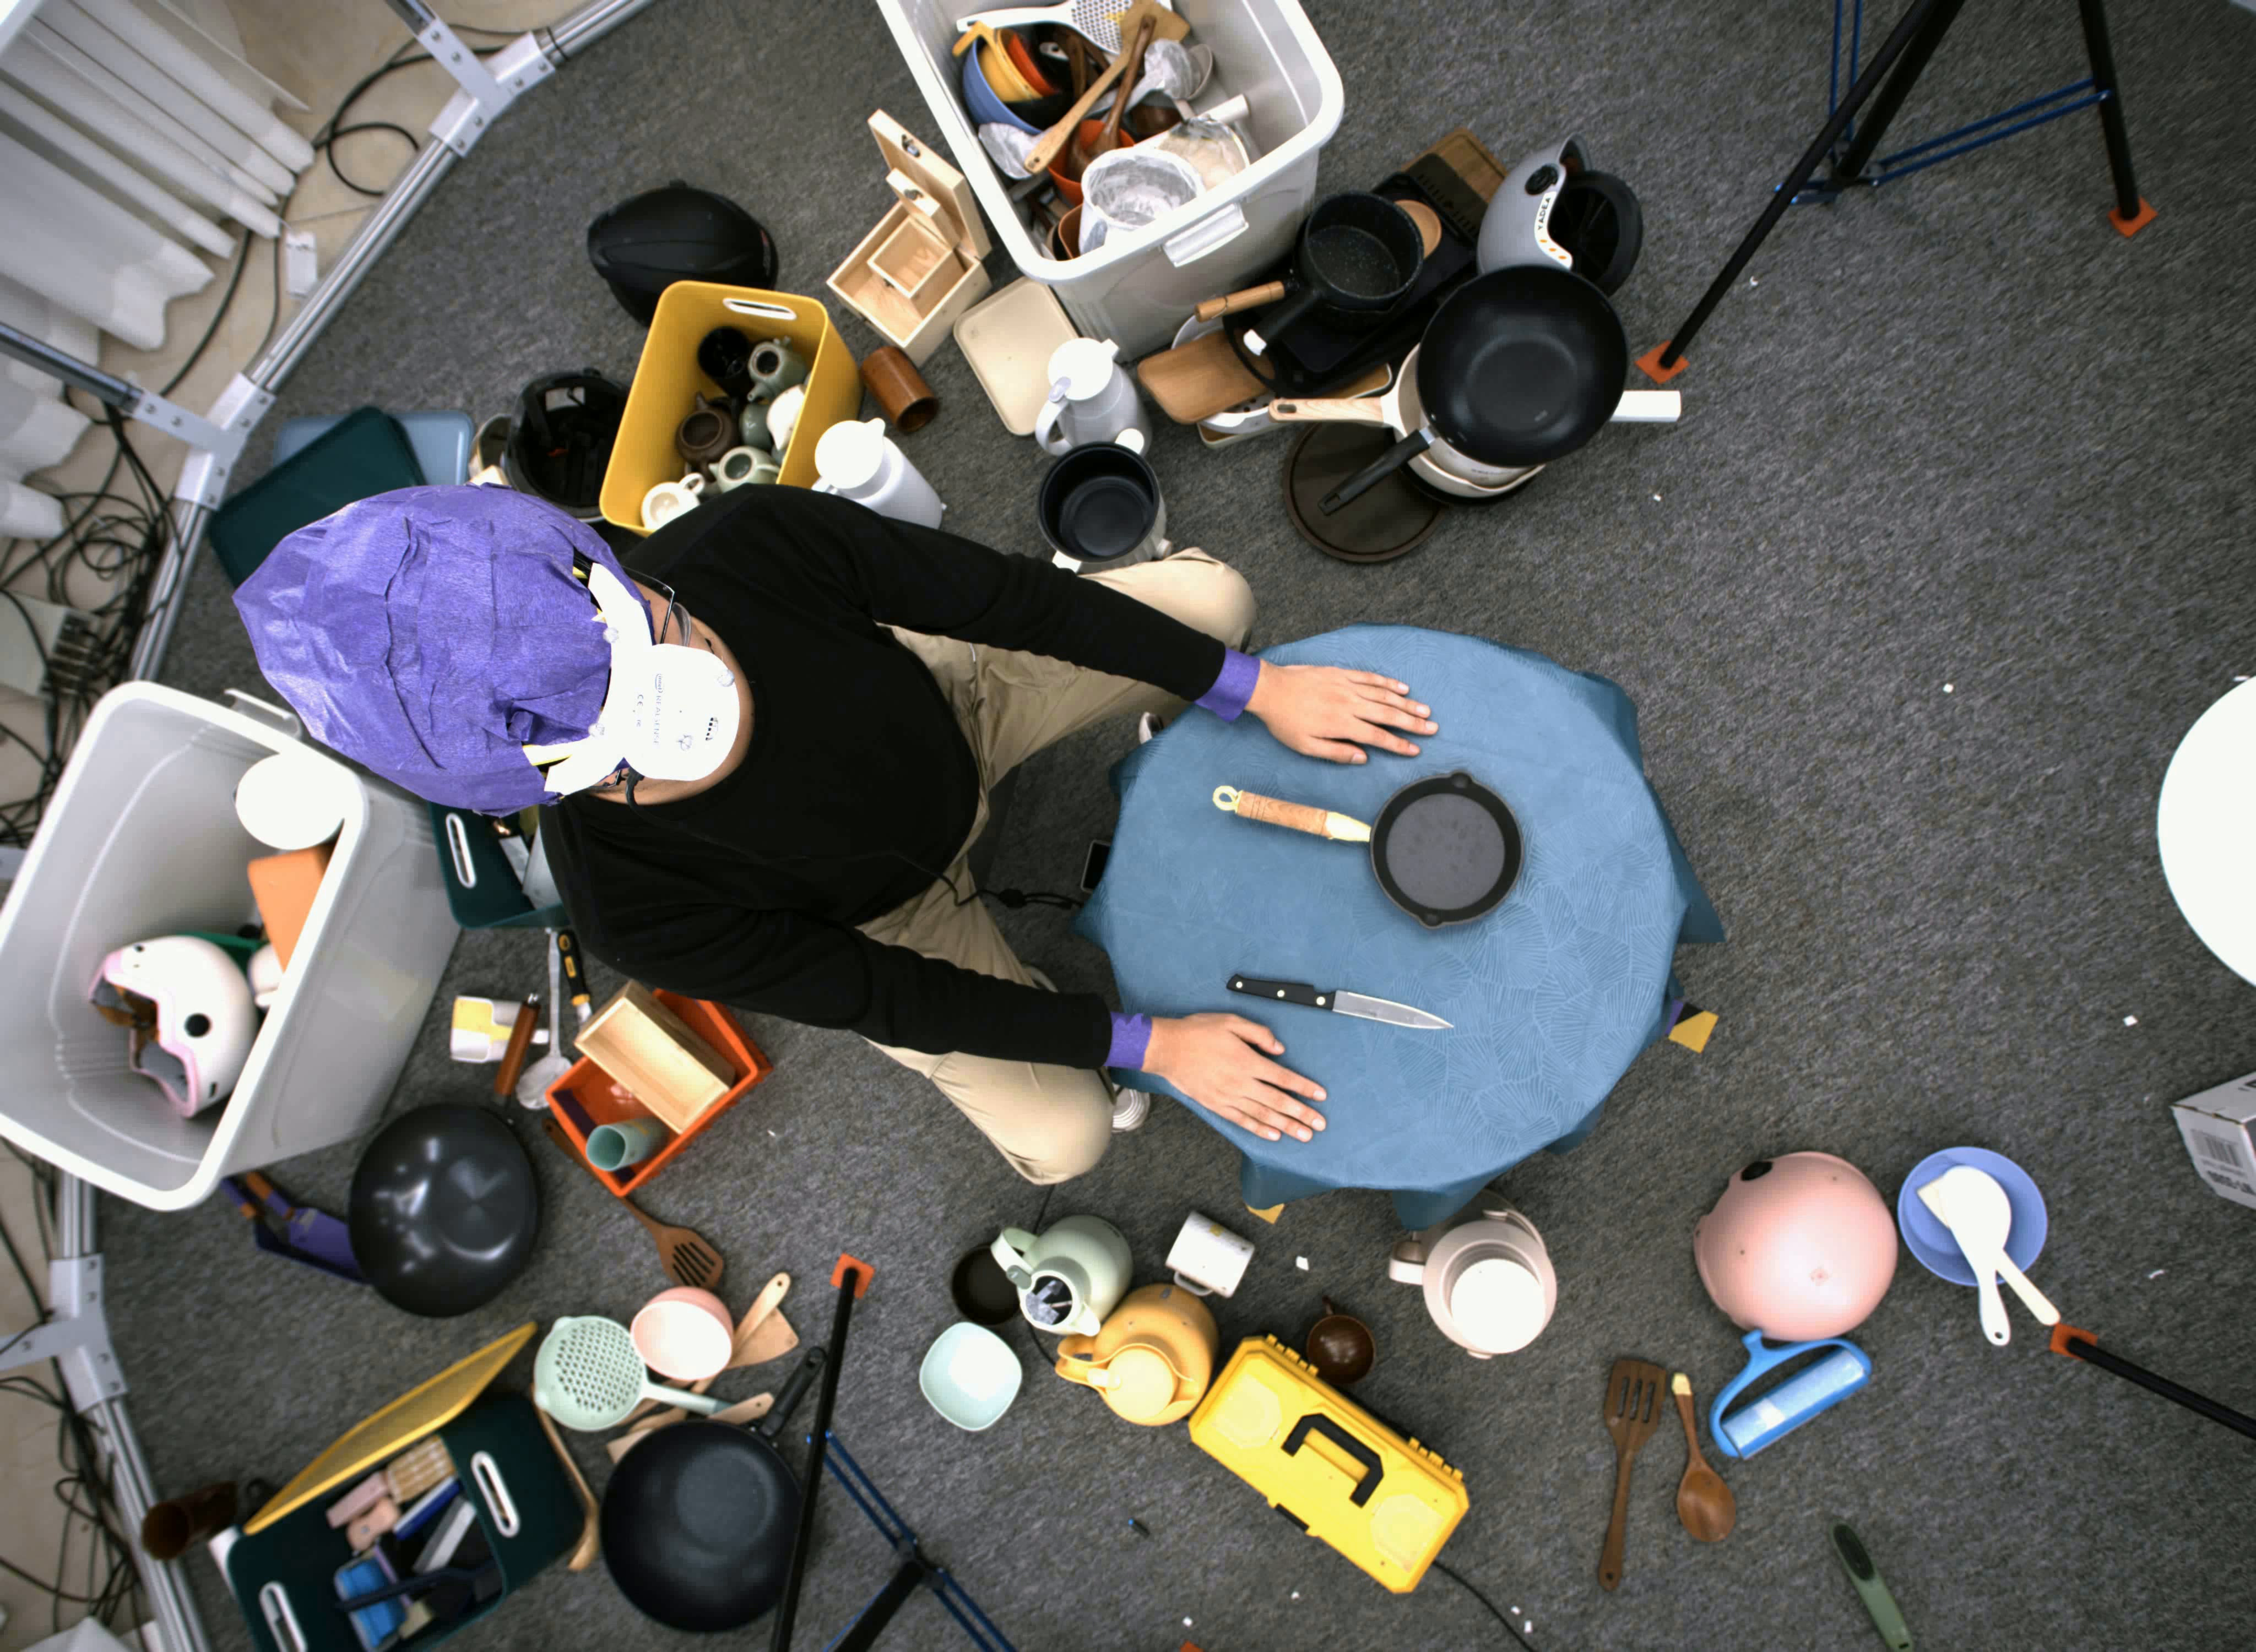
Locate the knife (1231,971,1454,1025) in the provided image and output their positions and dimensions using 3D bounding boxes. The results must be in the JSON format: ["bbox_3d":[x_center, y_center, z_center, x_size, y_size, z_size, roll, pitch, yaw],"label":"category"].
[{"bbox_3d":[0.224,0.185,1.459,0.238,0.016,0.024,11,87,8],"label":"knife"}]

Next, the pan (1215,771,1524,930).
[{"bbox_3d":[0.250,0.004,1.445,0.324,0.049,0.168,15,89,12],"label":"pan"}]
